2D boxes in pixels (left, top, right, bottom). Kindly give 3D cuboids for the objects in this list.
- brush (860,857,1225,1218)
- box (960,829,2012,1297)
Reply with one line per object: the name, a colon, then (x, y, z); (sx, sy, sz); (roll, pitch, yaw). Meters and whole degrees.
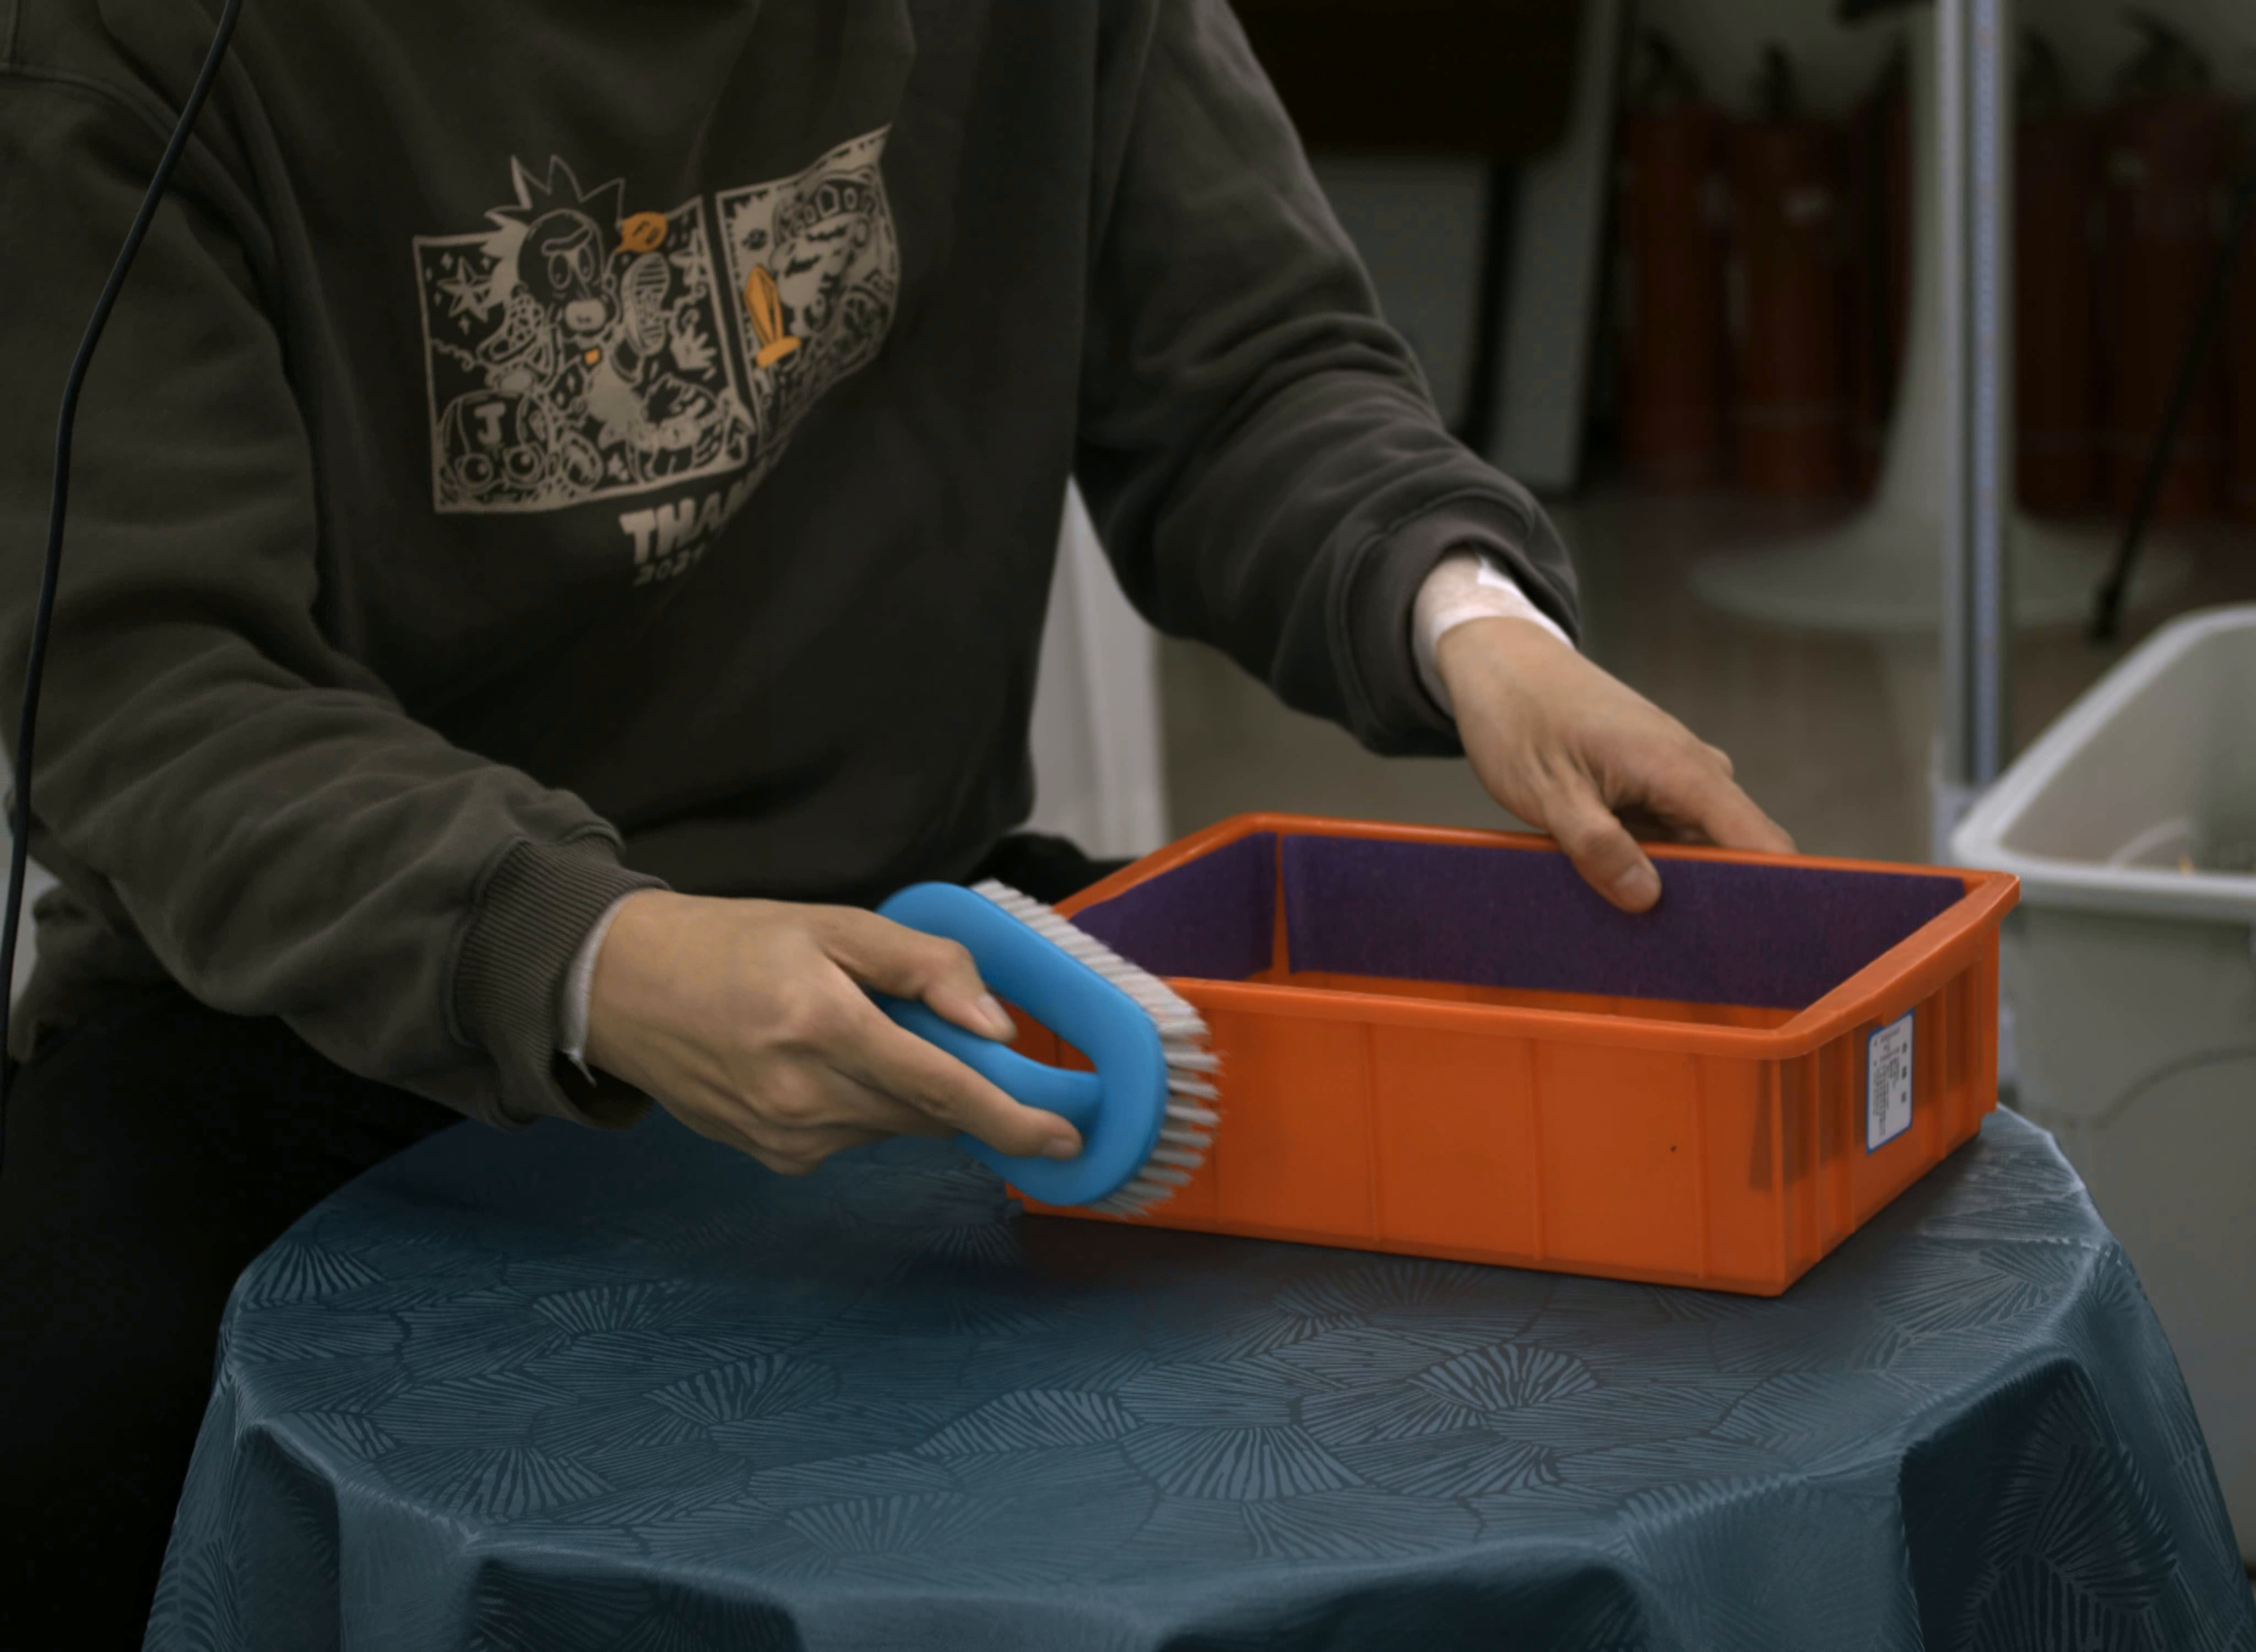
brush: (-0.038, 0.066, 1.686); (0.062, 0.085, 0.143); (4, 26, -48)
box: (0.120, 0.074, 1.756); (0.305, 0.097, 0.203); (4, 15, 31)
